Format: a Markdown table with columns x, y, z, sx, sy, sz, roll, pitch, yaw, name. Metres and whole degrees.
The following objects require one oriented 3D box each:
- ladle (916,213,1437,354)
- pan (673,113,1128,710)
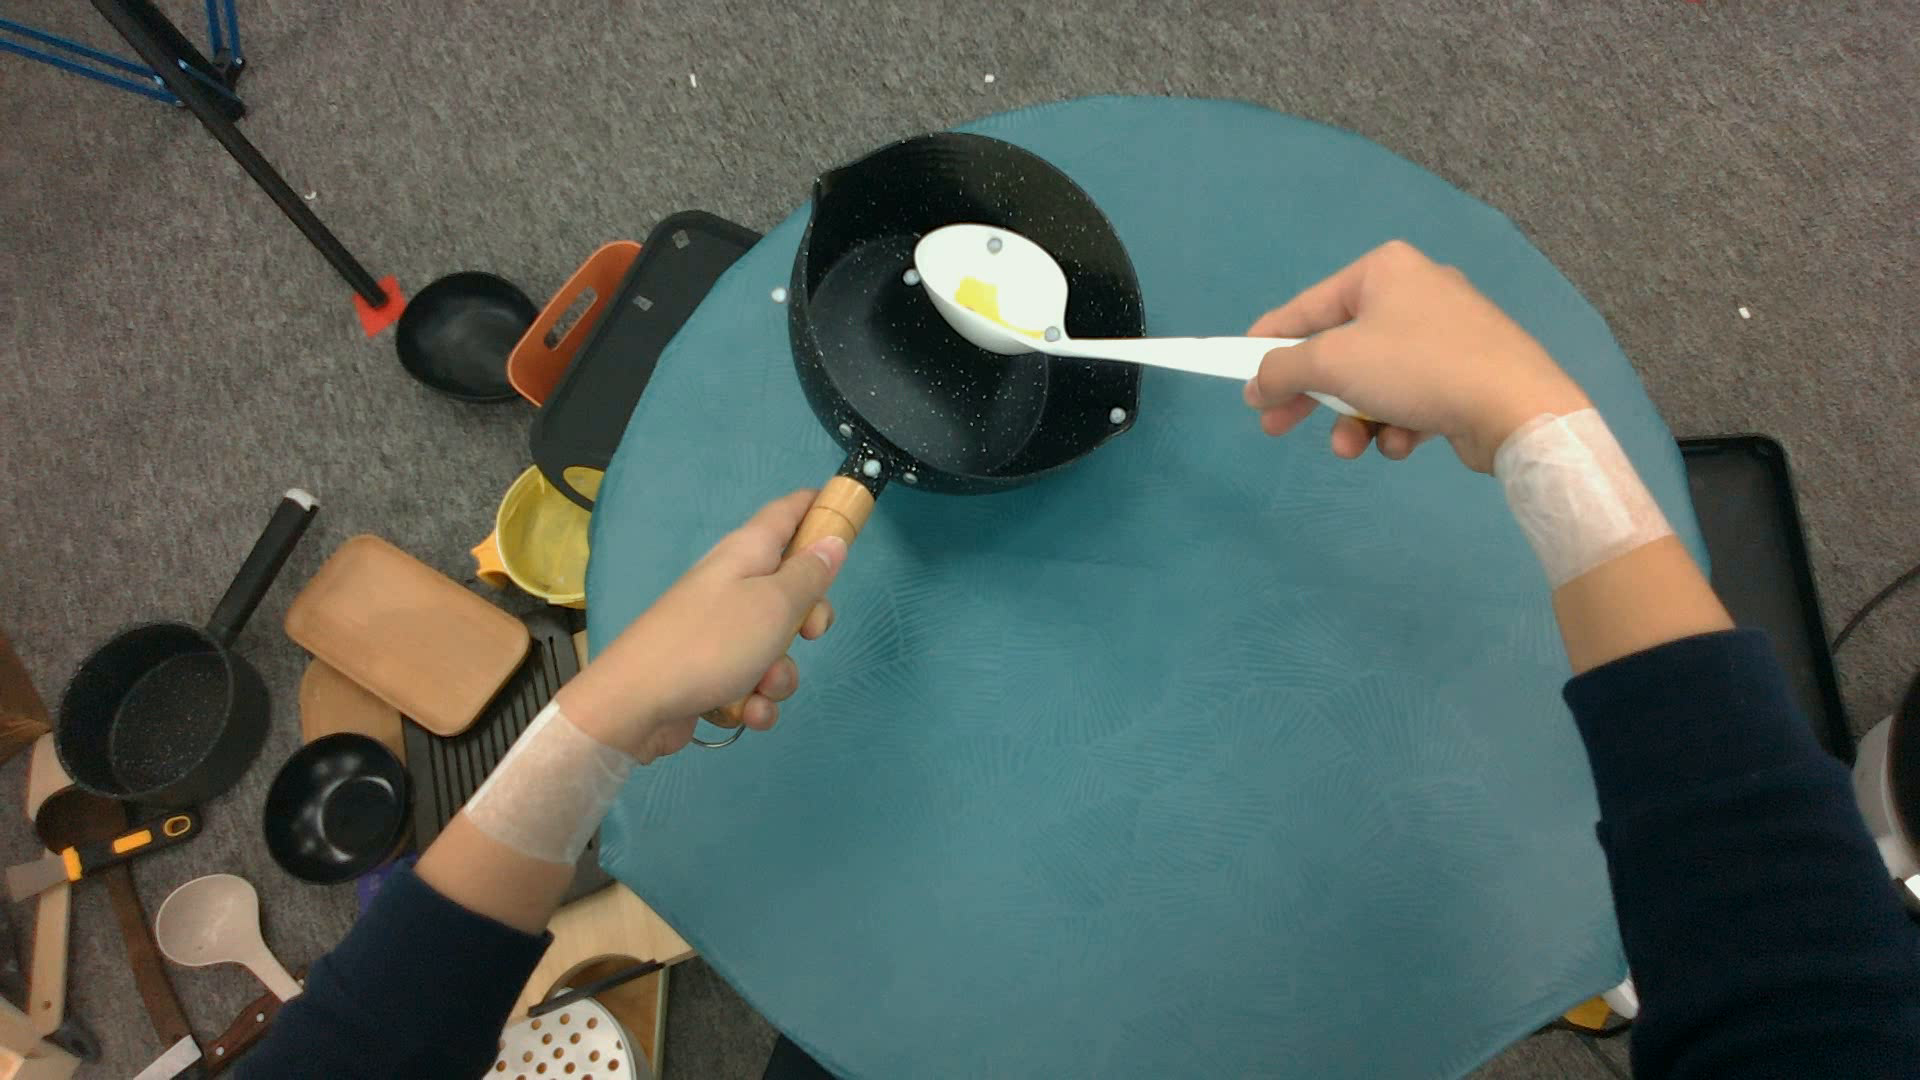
| x | y | z | sx | sy | sz | roll | pitch | yaw | name |
| --- | --- | --- | --- | --- | --- | --- | --- | --- | --- |
| 0.091 | -0.127 | 0.666 | 0.292 | 0.090 | 0.070 | 9 | 92 | 46 | ladle |
| -0.046 | -0.057 | 0.682 | 0.207 | 0.108 | 0.344 | 34 | 66 | -12 | pan |
